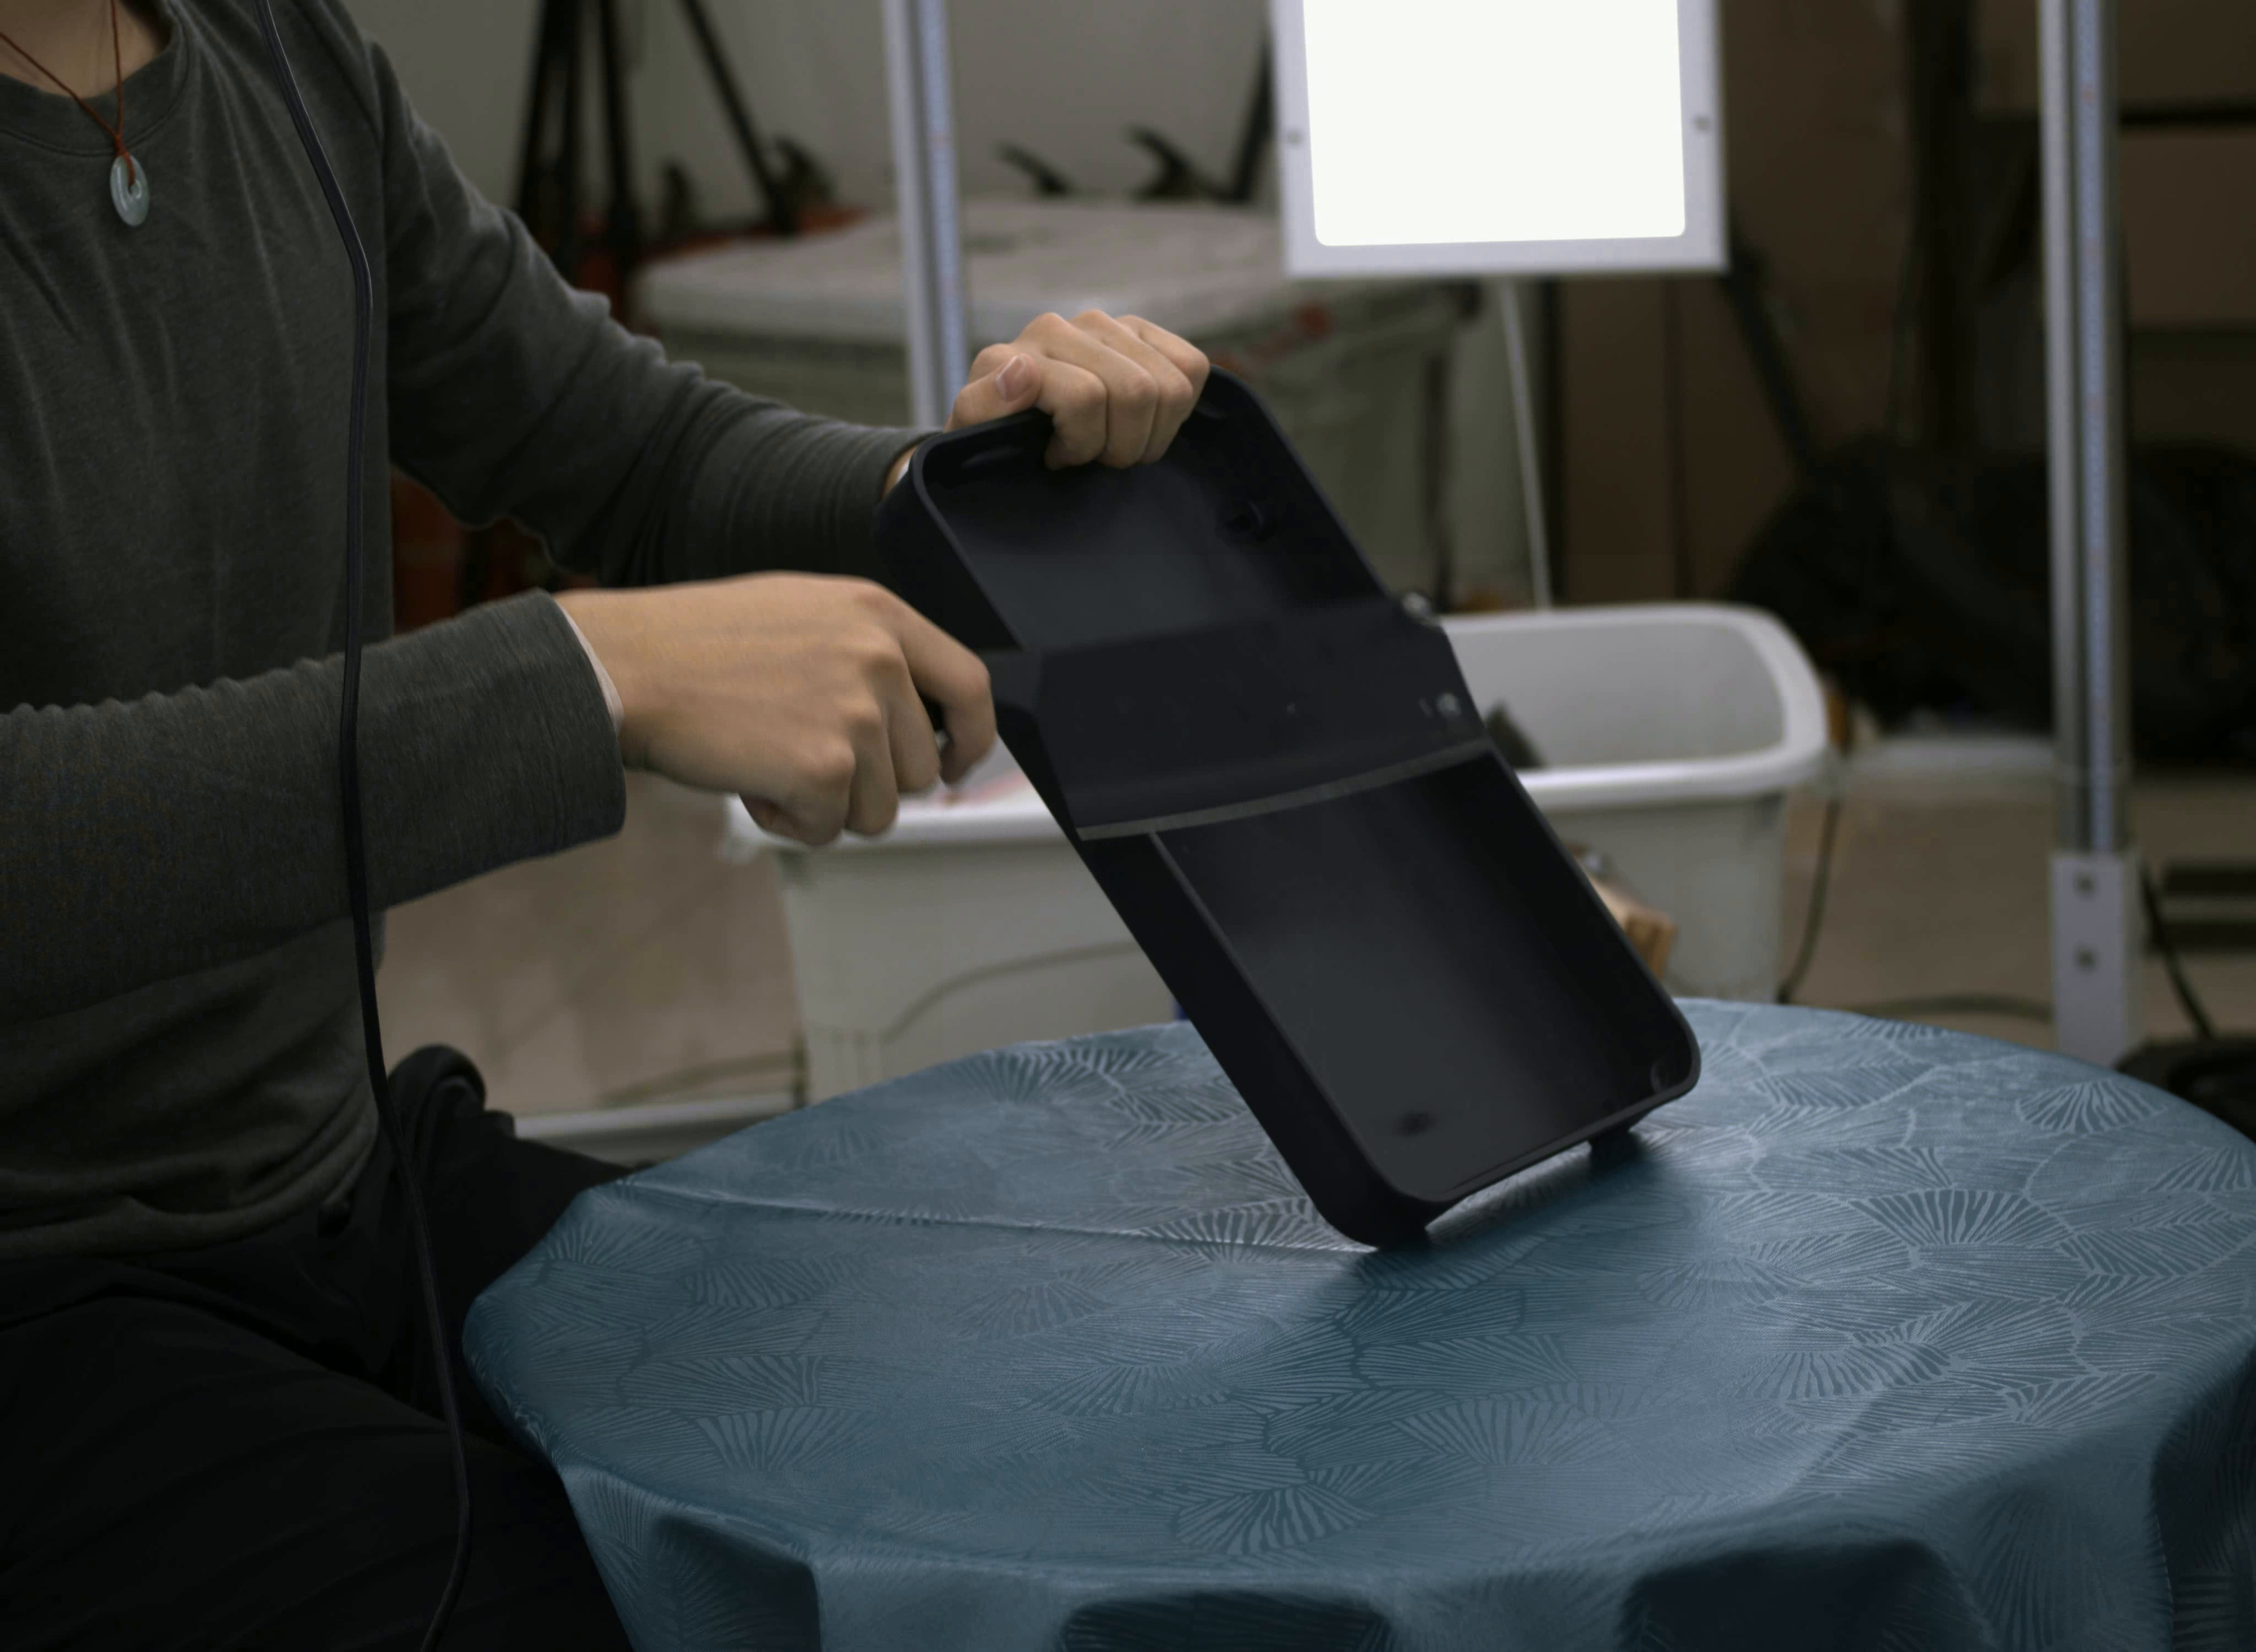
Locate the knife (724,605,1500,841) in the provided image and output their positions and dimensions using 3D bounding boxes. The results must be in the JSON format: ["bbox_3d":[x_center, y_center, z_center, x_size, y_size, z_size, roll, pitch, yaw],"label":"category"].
[{"bbox_3d":[-0.002,-0.031,1.828,0.295,0.081,0.021,-5,-23,-31],"label":"knife"}]

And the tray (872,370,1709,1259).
[{"bbox_3d":[0.057,-0.009,1.894,0.179,0.319,0.038,-22,-18,-46],"label":"tray"}]
